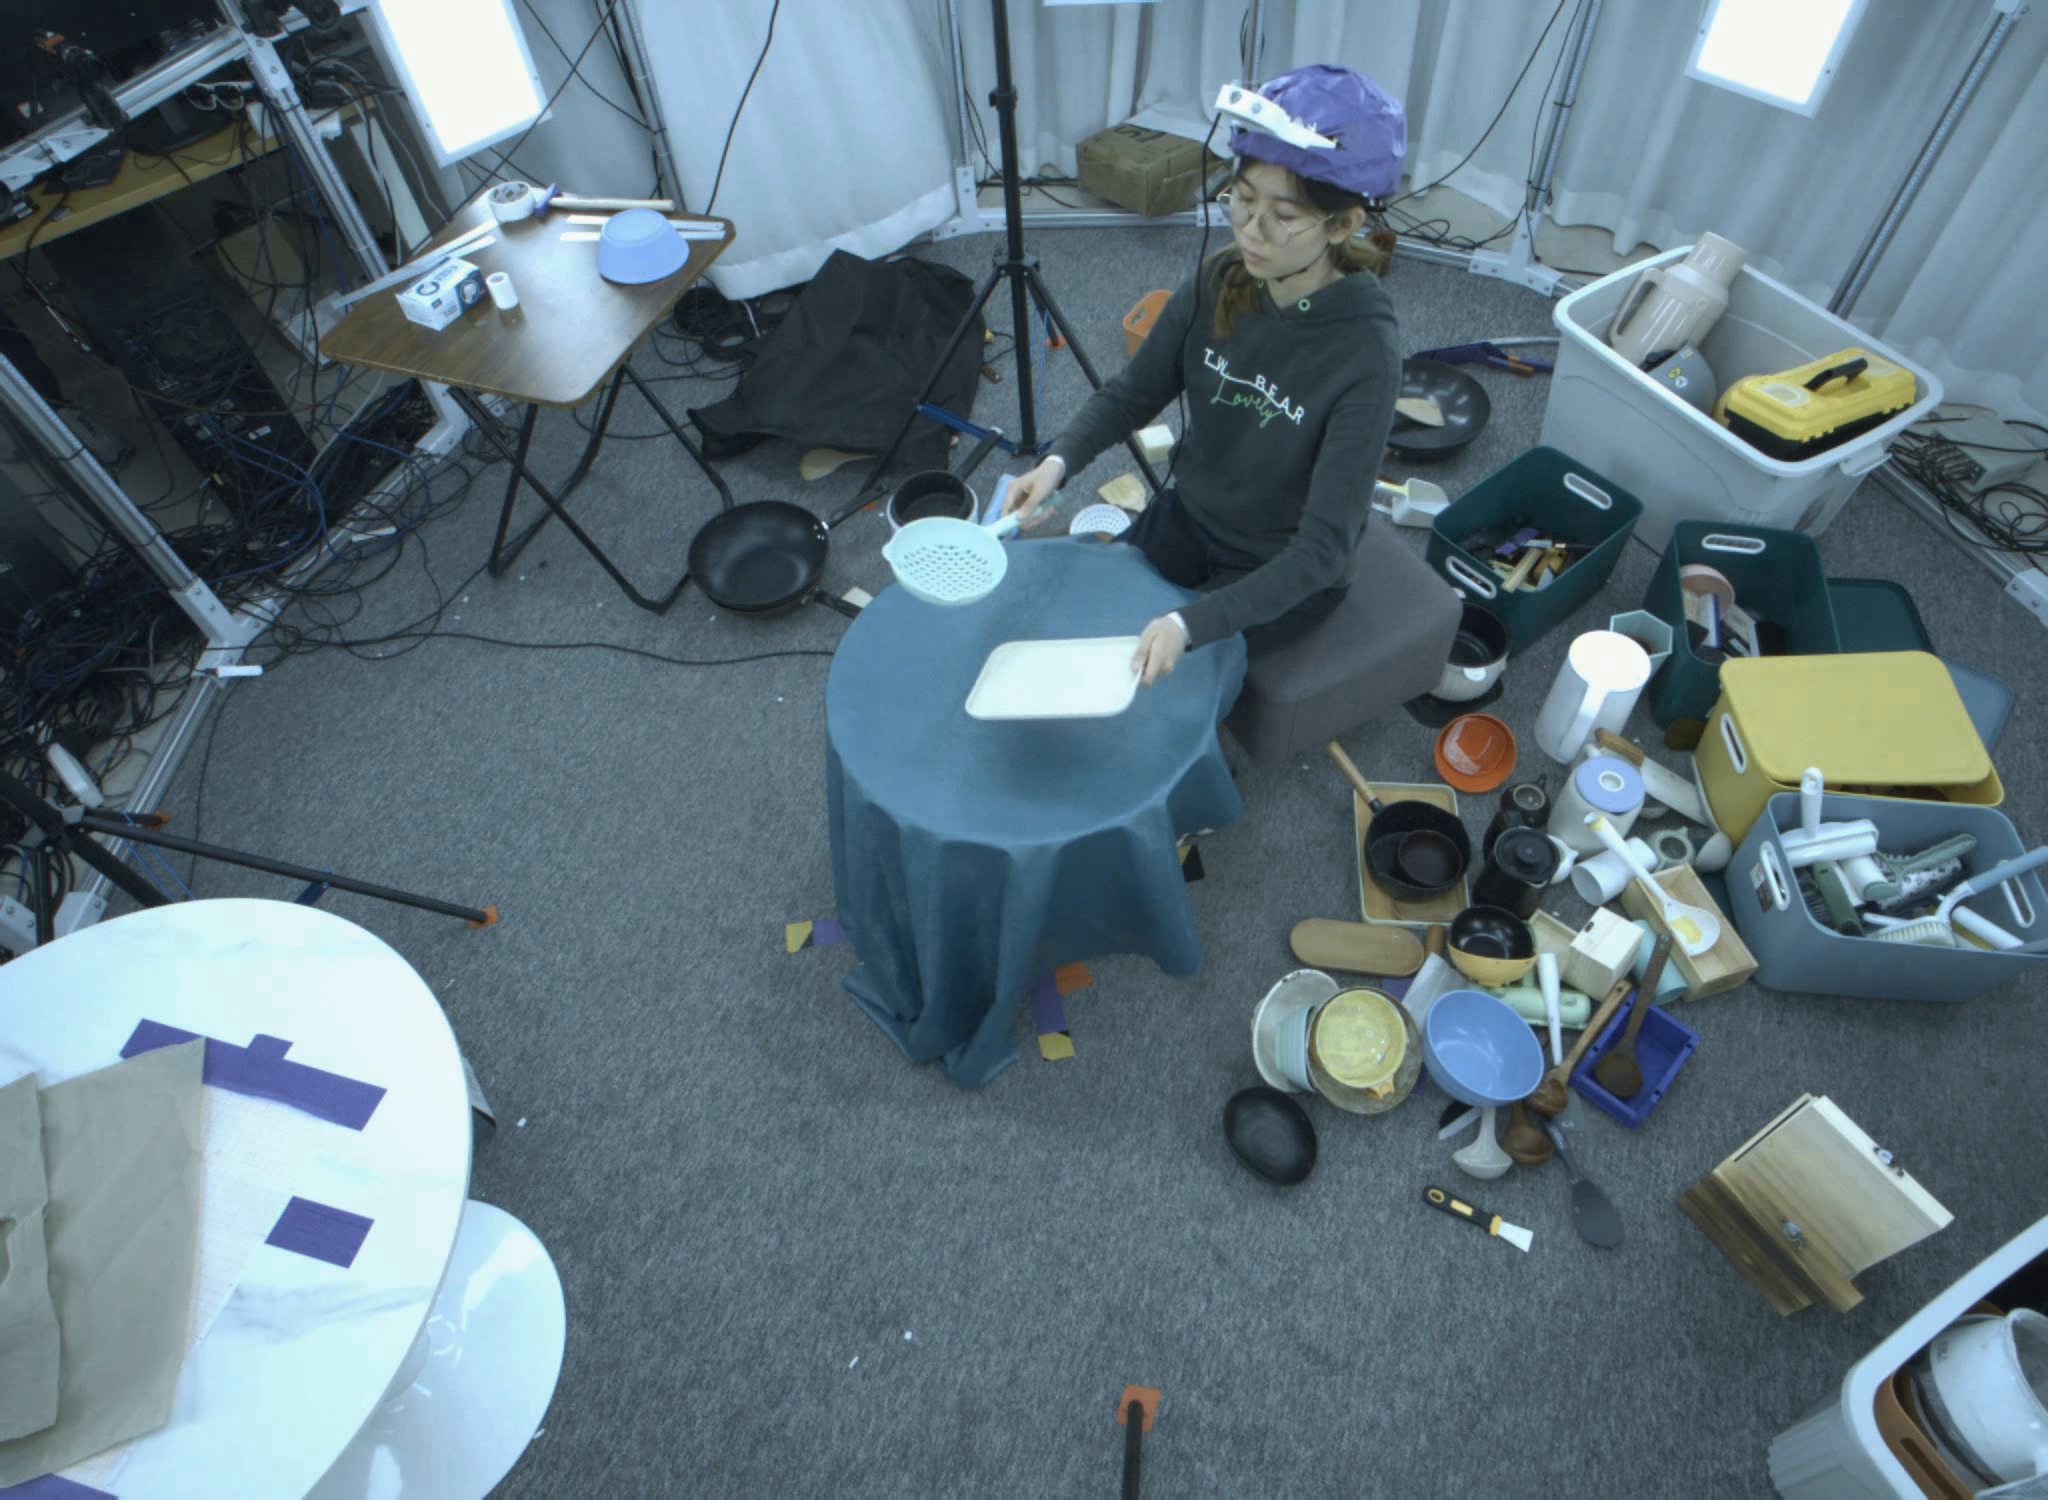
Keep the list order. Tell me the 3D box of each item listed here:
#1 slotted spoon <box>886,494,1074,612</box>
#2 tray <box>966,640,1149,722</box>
[{"bbox_3d":[-0.043,-0.310,1.802,0.167,0.075,0.361,40,60,16],"label":"slotted spoon"},{"bbox_3d":[0.048,-0.094,1.702,0.236,0.018,0.171,1,41,20],"label":"tray"}]
